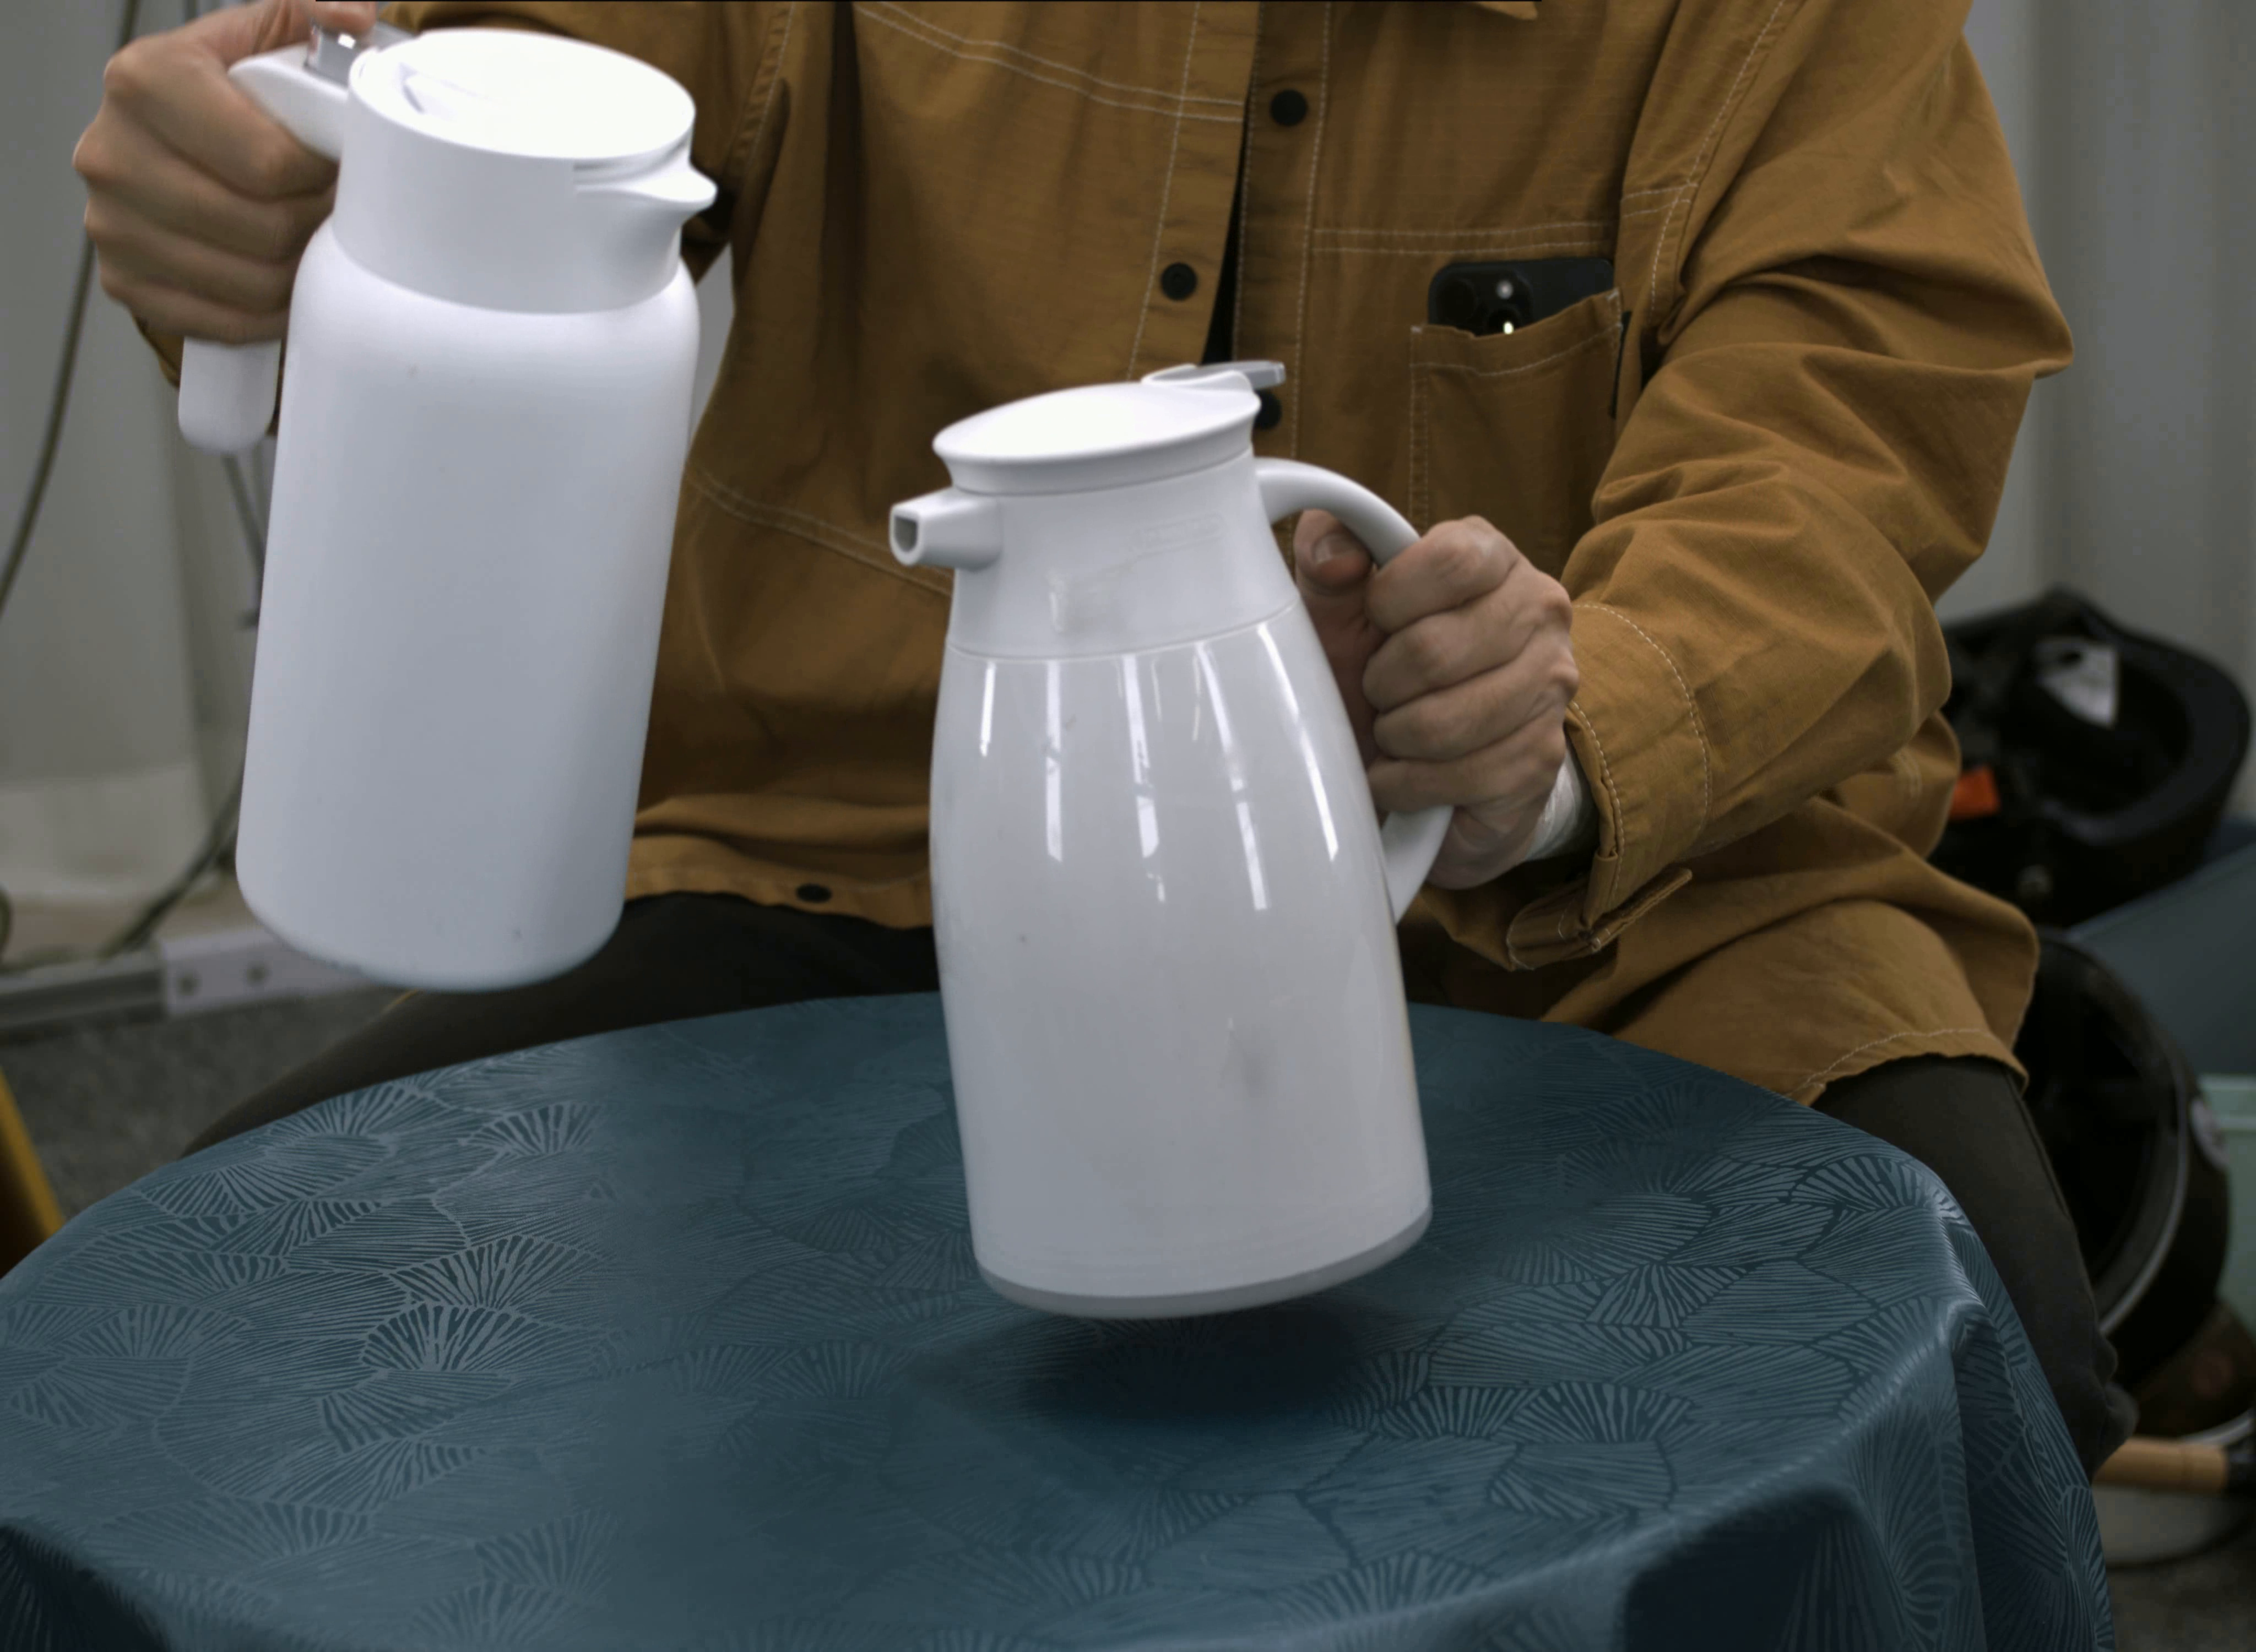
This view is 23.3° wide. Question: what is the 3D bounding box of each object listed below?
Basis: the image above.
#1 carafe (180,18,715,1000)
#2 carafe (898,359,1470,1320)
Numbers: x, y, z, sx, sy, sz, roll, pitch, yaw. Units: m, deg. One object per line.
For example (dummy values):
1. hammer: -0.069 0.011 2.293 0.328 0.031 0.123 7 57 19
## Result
1. carafe: -0.206 -0.096 1.605 0.174 0.266 0.124 23 30 27
2. carafe: 0.023 -0.005 1.542 0.167 0.248 0.133 -13 14 -27
